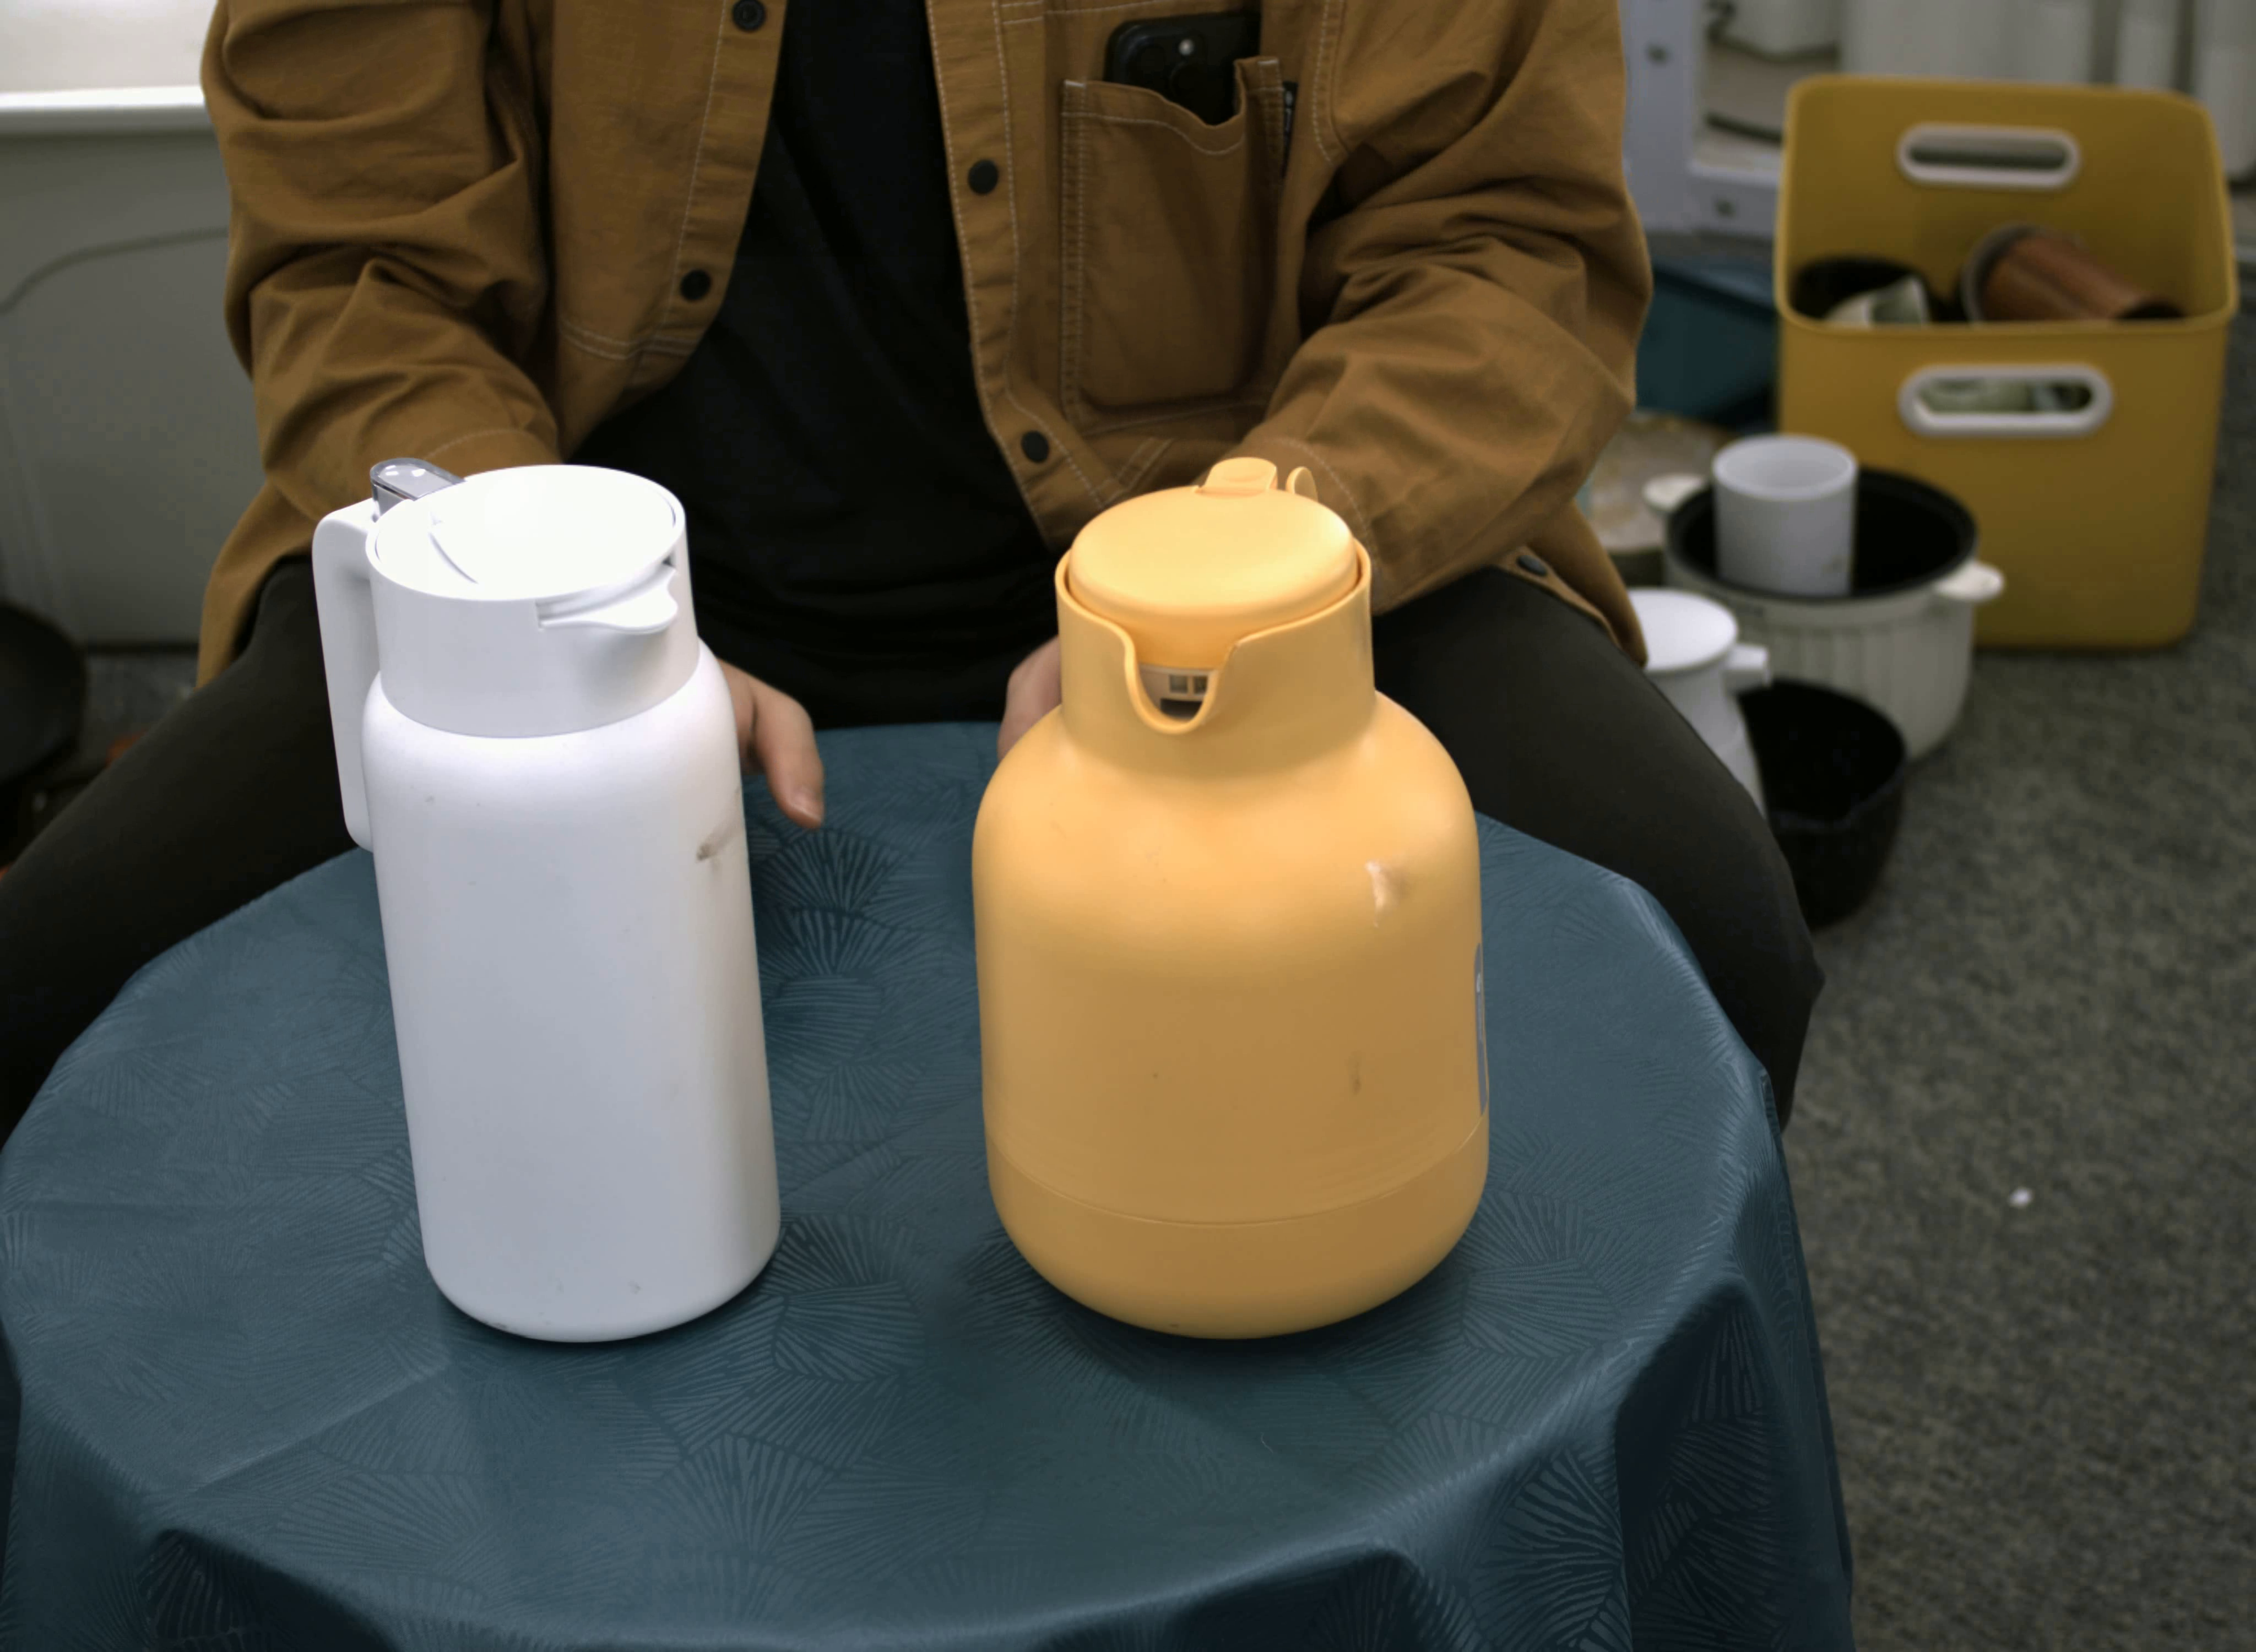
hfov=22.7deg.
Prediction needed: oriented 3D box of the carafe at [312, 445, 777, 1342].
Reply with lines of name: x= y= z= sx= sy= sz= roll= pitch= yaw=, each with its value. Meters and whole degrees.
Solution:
carafe: x=-0.191 y=0.019 z=1.789 sx=0.125 sy=0.266 sz=0.172 roll=-27 pitch=34 yaw=-36

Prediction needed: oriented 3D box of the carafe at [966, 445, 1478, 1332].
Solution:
carafe: x=0.035 y=0.010 z=1.788 sx=0.162 sy=0.257 sz=0.206 roll=6 pitch=29 yaw=12
